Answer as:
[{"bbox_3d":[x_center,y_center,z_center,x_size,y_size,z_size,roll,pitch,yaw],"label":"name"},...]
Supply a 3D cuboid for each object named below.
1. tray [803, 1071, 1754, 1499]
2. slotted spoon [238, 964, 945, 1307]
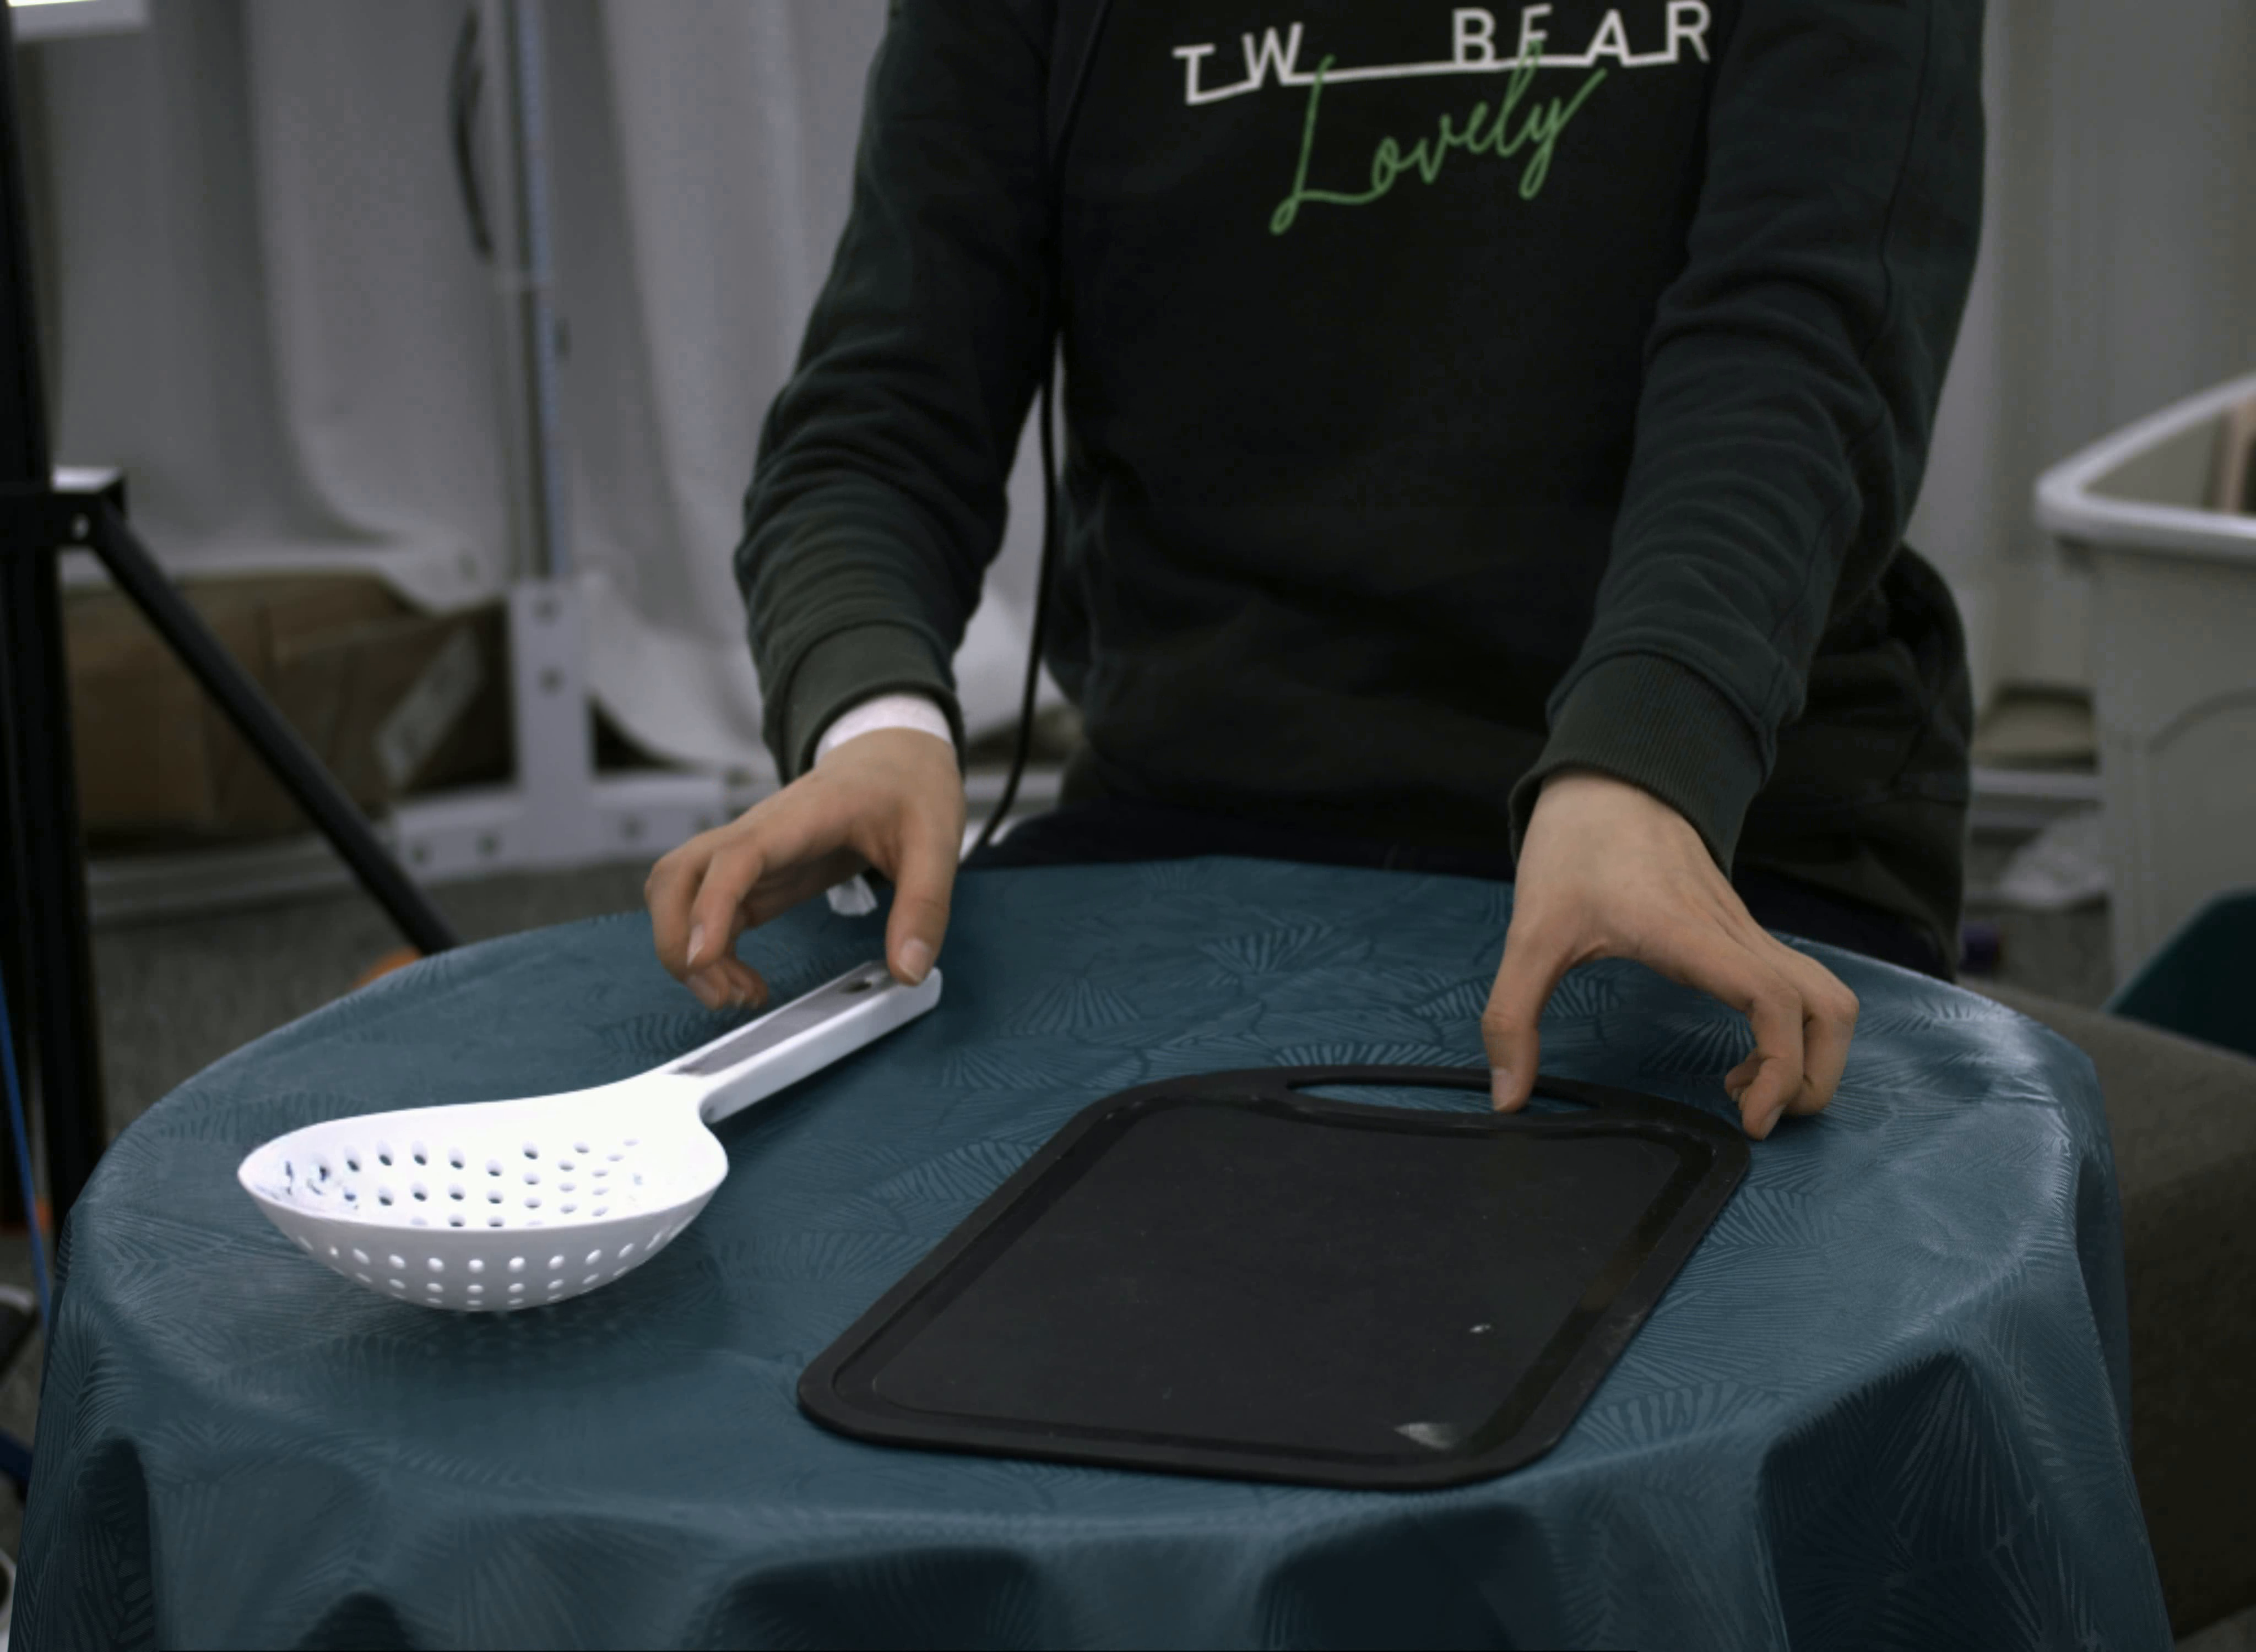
[{"bbox_3d":[0.051,0.120,1.495,0.213,0.010,0.321,4,17,20],"label":"tray"},{"bbox_3d":[-0.139,0.083,1.588,0.138,0.046,0.345,6,17,23],"label":"slotted spoon"}]
